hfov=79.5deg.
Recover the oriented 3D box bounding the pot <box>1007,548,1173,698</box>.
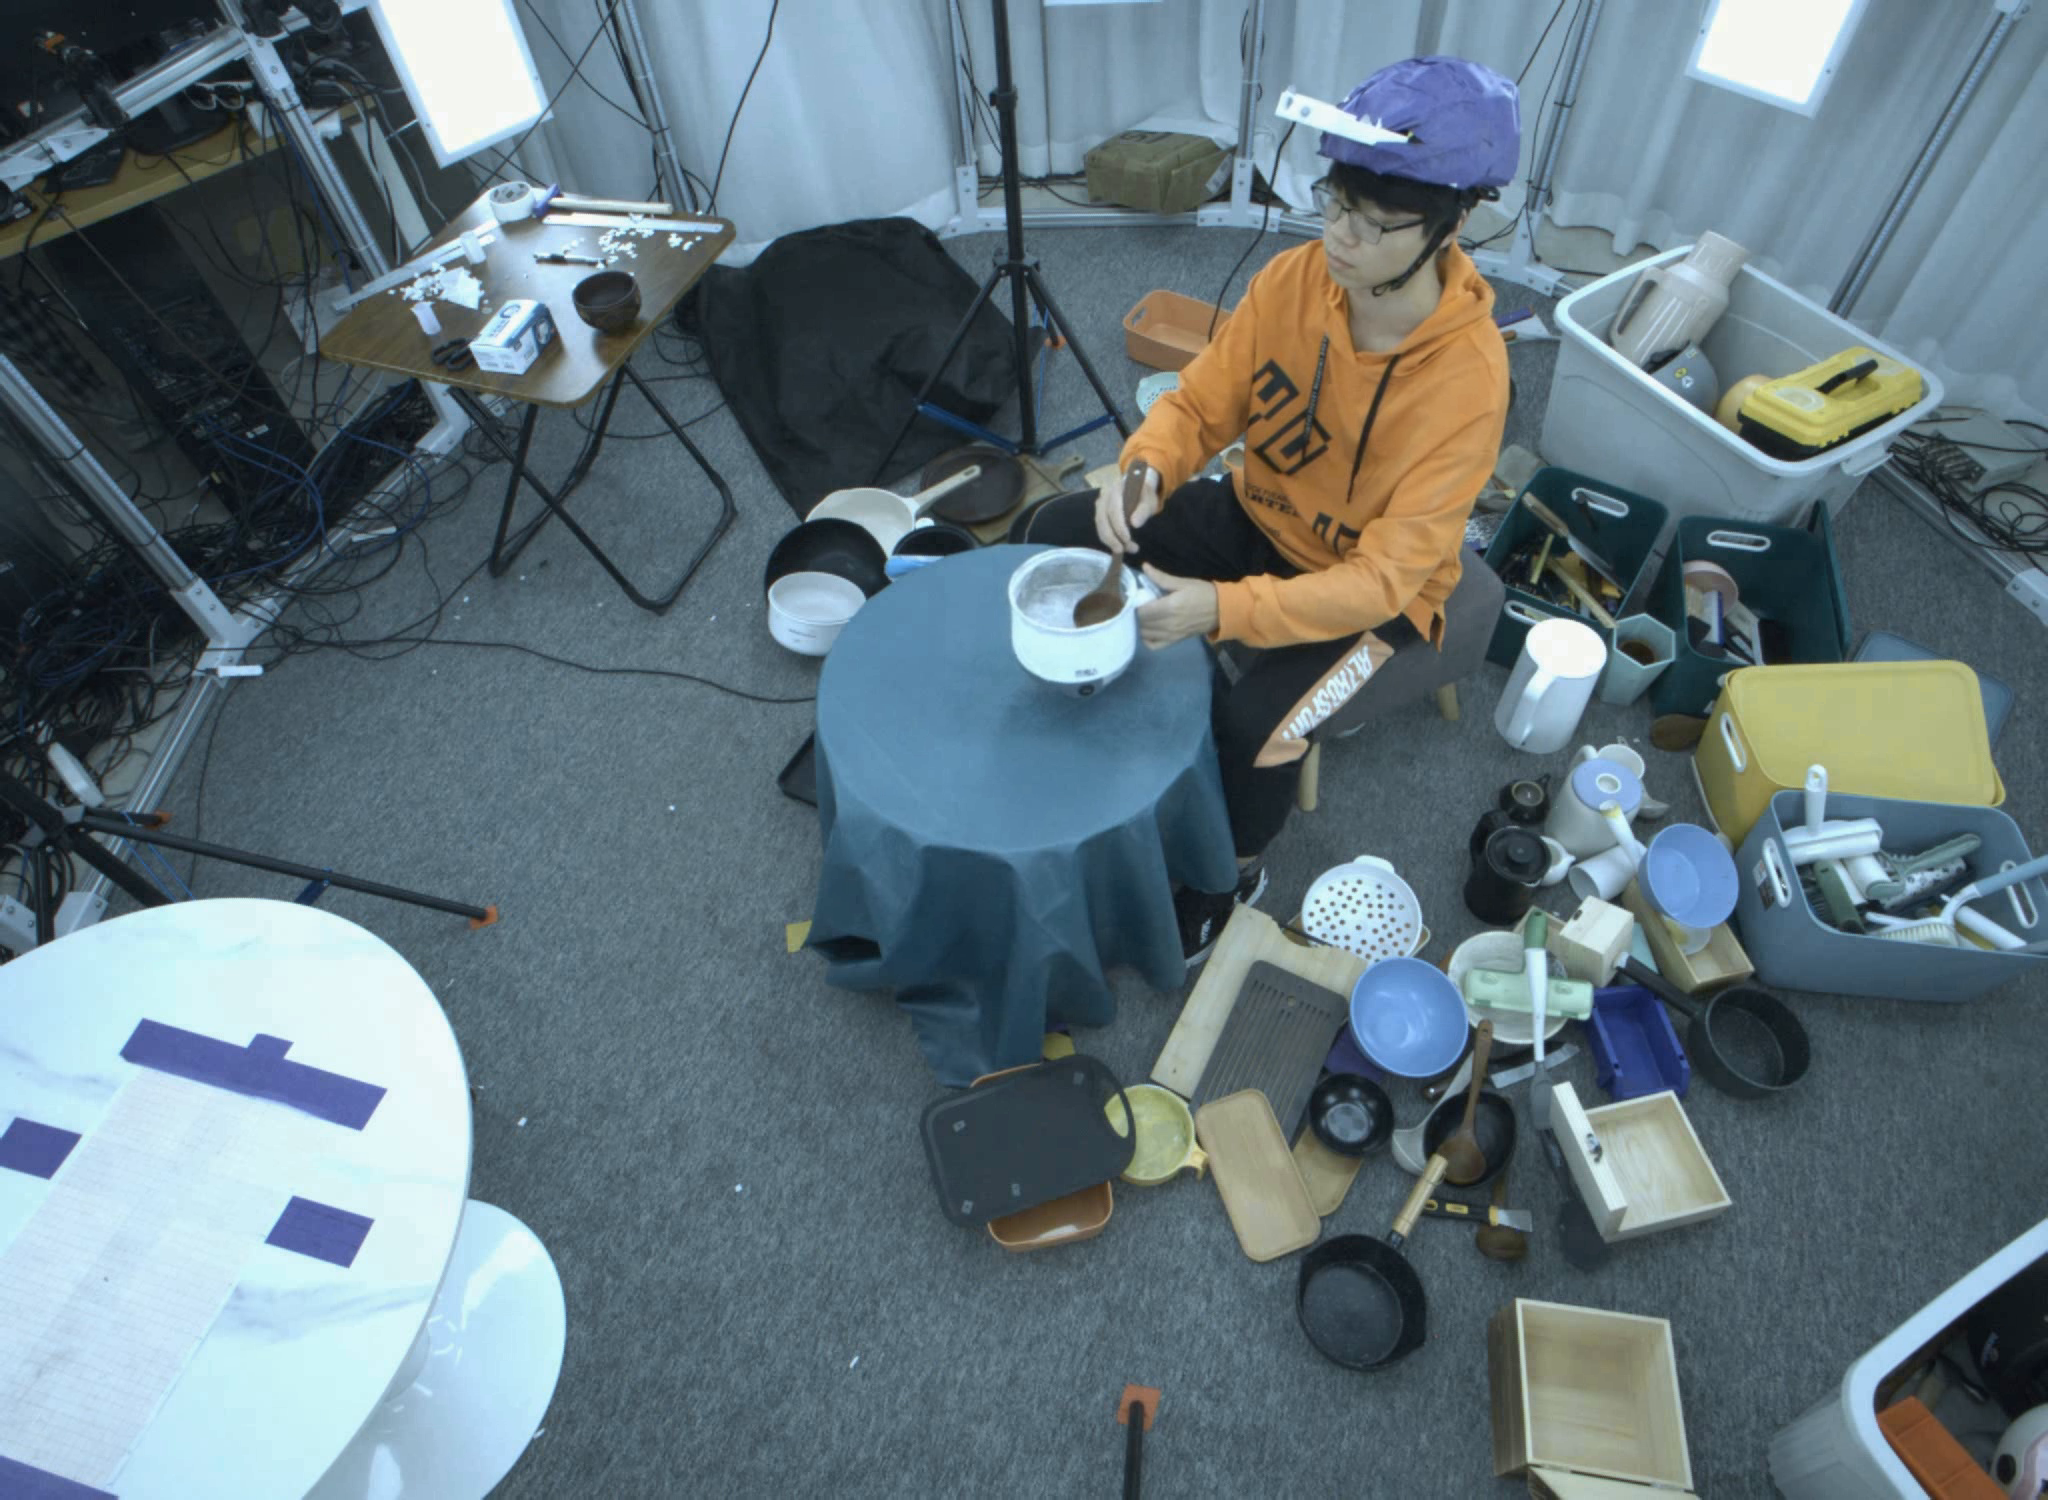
[{"bbox_3d":[0.095,-0.184,1.739,0.235,0.138,0.176,-11,50,-6],"label":"pot"}]

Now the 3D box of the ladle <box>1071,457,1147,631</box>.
[{"bbox_3d":[0.126,-0.276,1.688,0.076,0.261,0.065,15,15,3],"label":"ladle"}]
